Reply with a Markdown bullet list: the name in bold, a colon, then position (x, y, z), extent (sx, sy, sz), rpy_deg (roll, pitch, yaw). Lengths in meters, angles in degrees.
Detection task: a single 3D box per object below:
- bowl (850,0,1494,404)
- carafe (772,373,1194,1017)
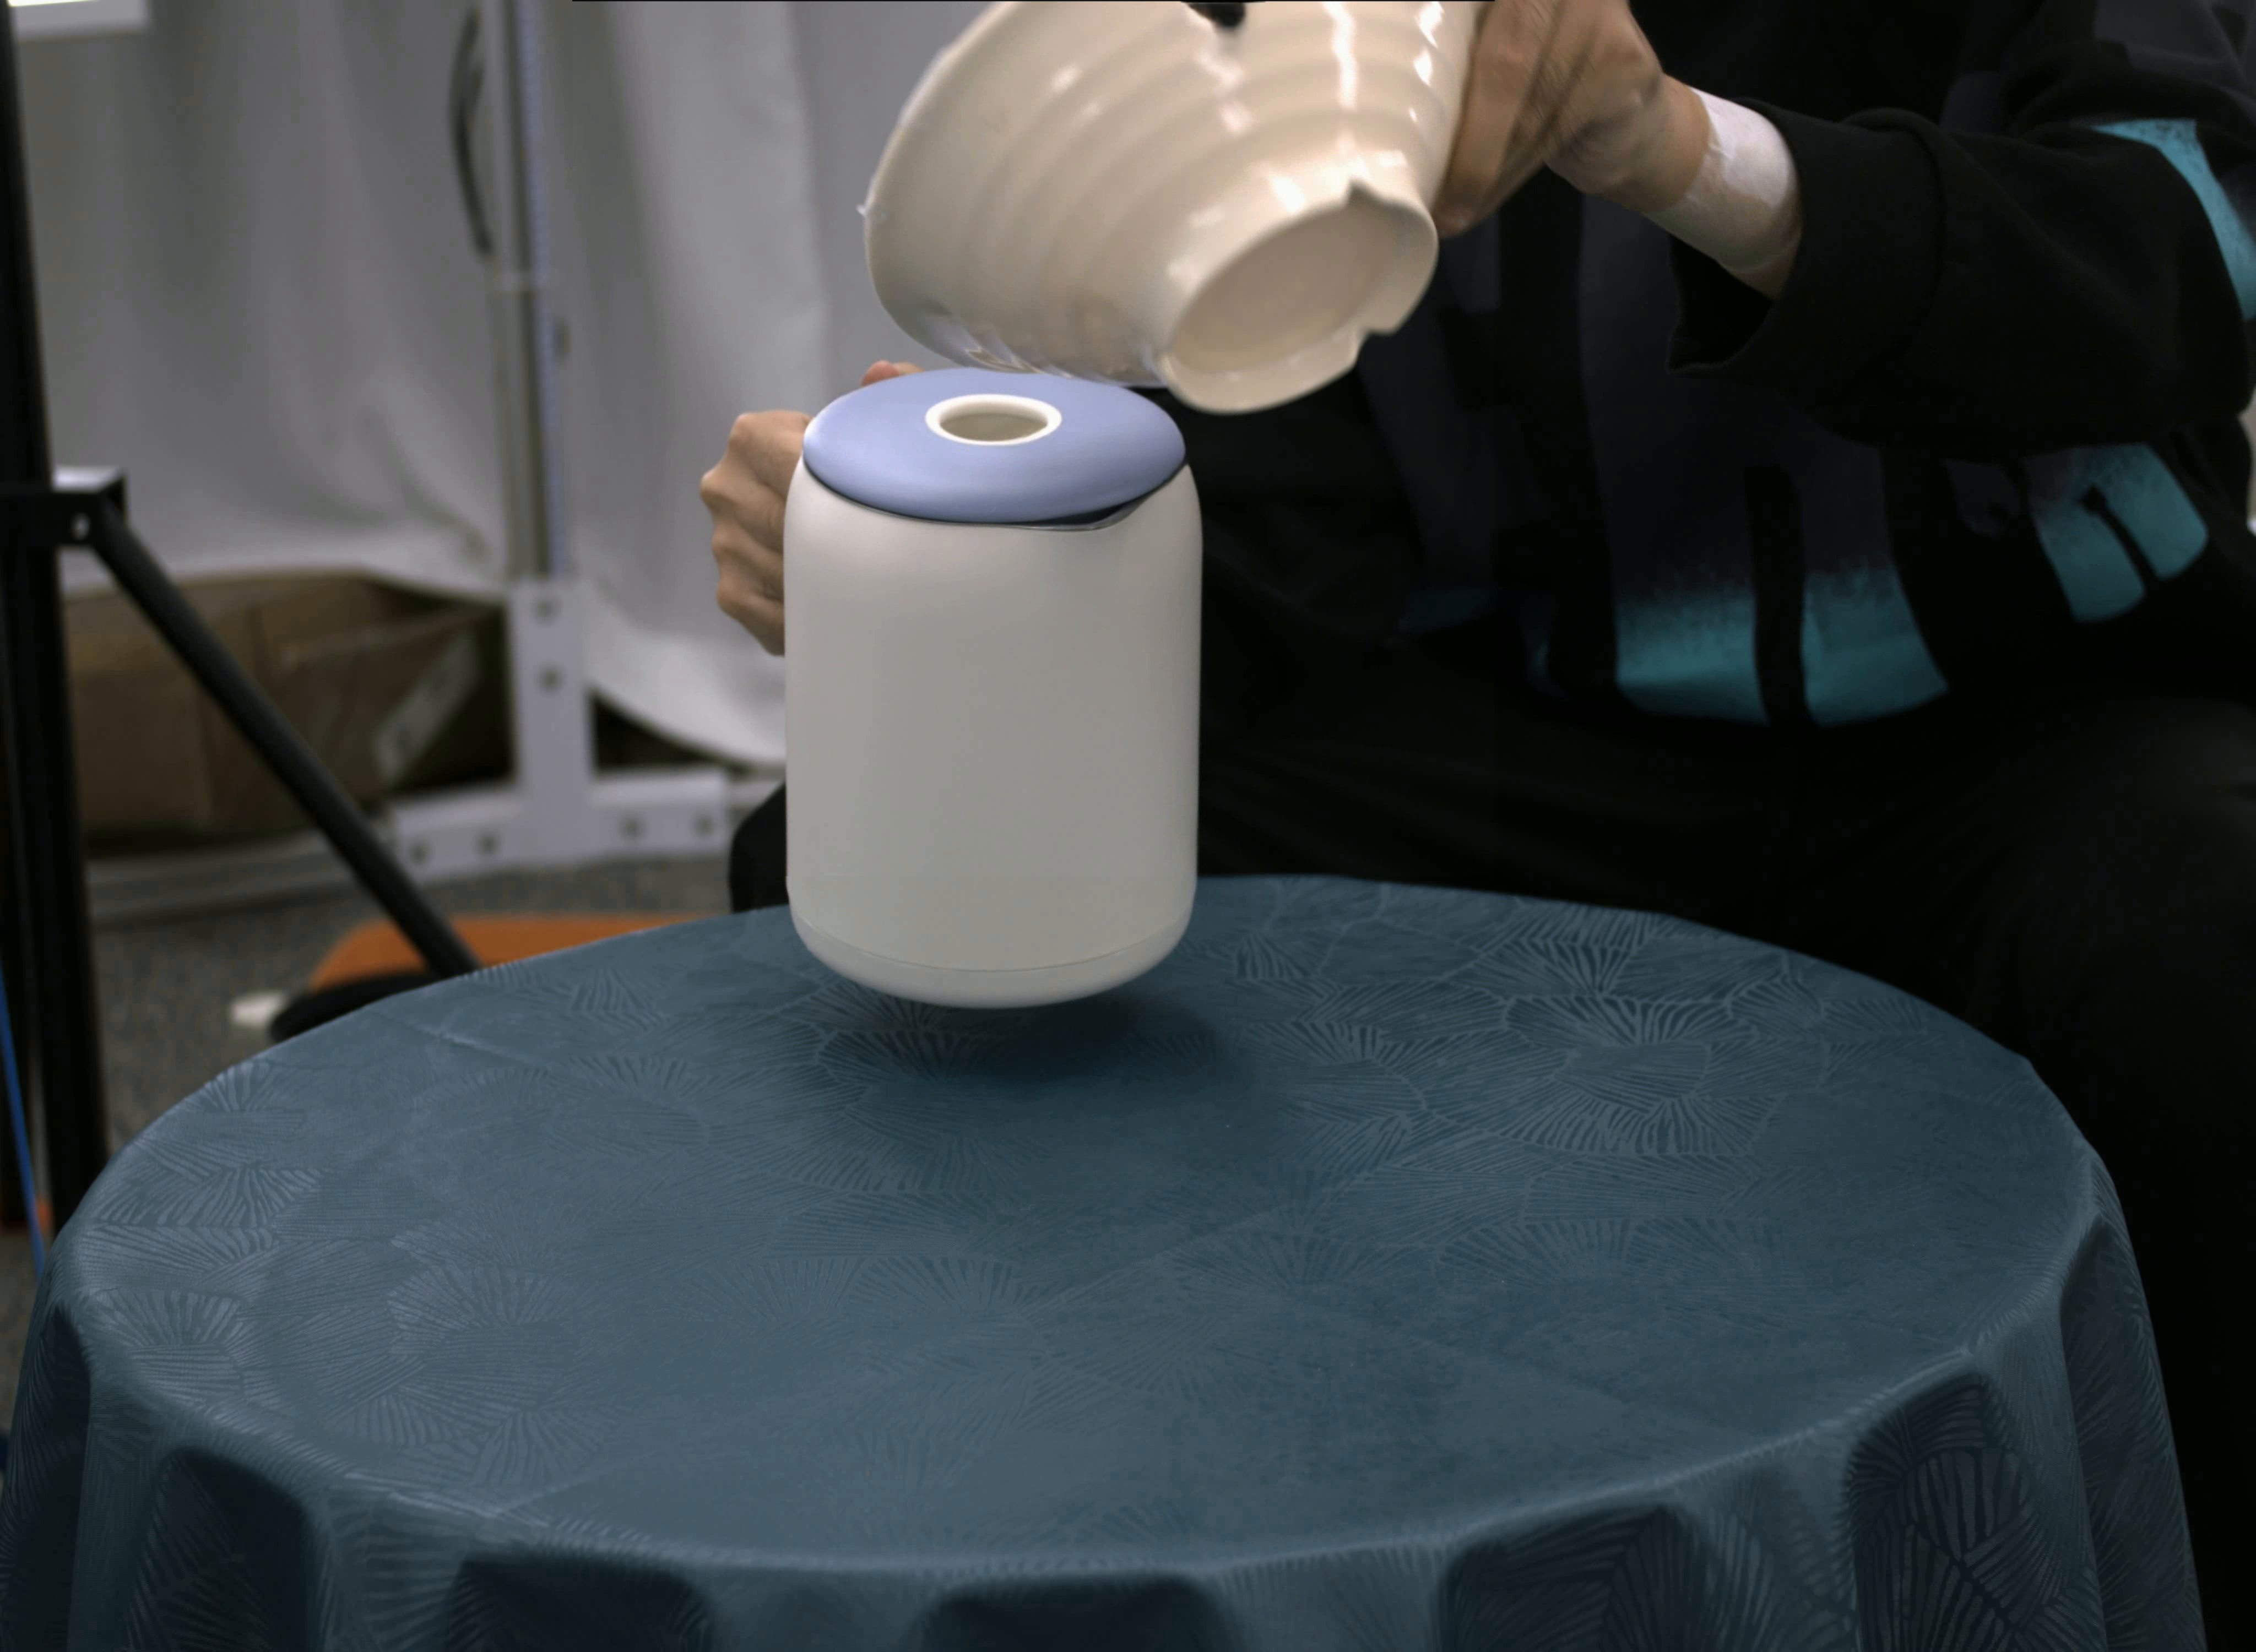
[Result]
- **bowl**: position (0.029, -0.177, 1.511), extent (0.200, 0.204, 0.079), rpy_deg (-10, 53, -26)
- **carafe**: position (-0.059, -0.050, 1.696), extent (0.129, 0.182, 0.195), rpy_deg (-12, 24, -30)
